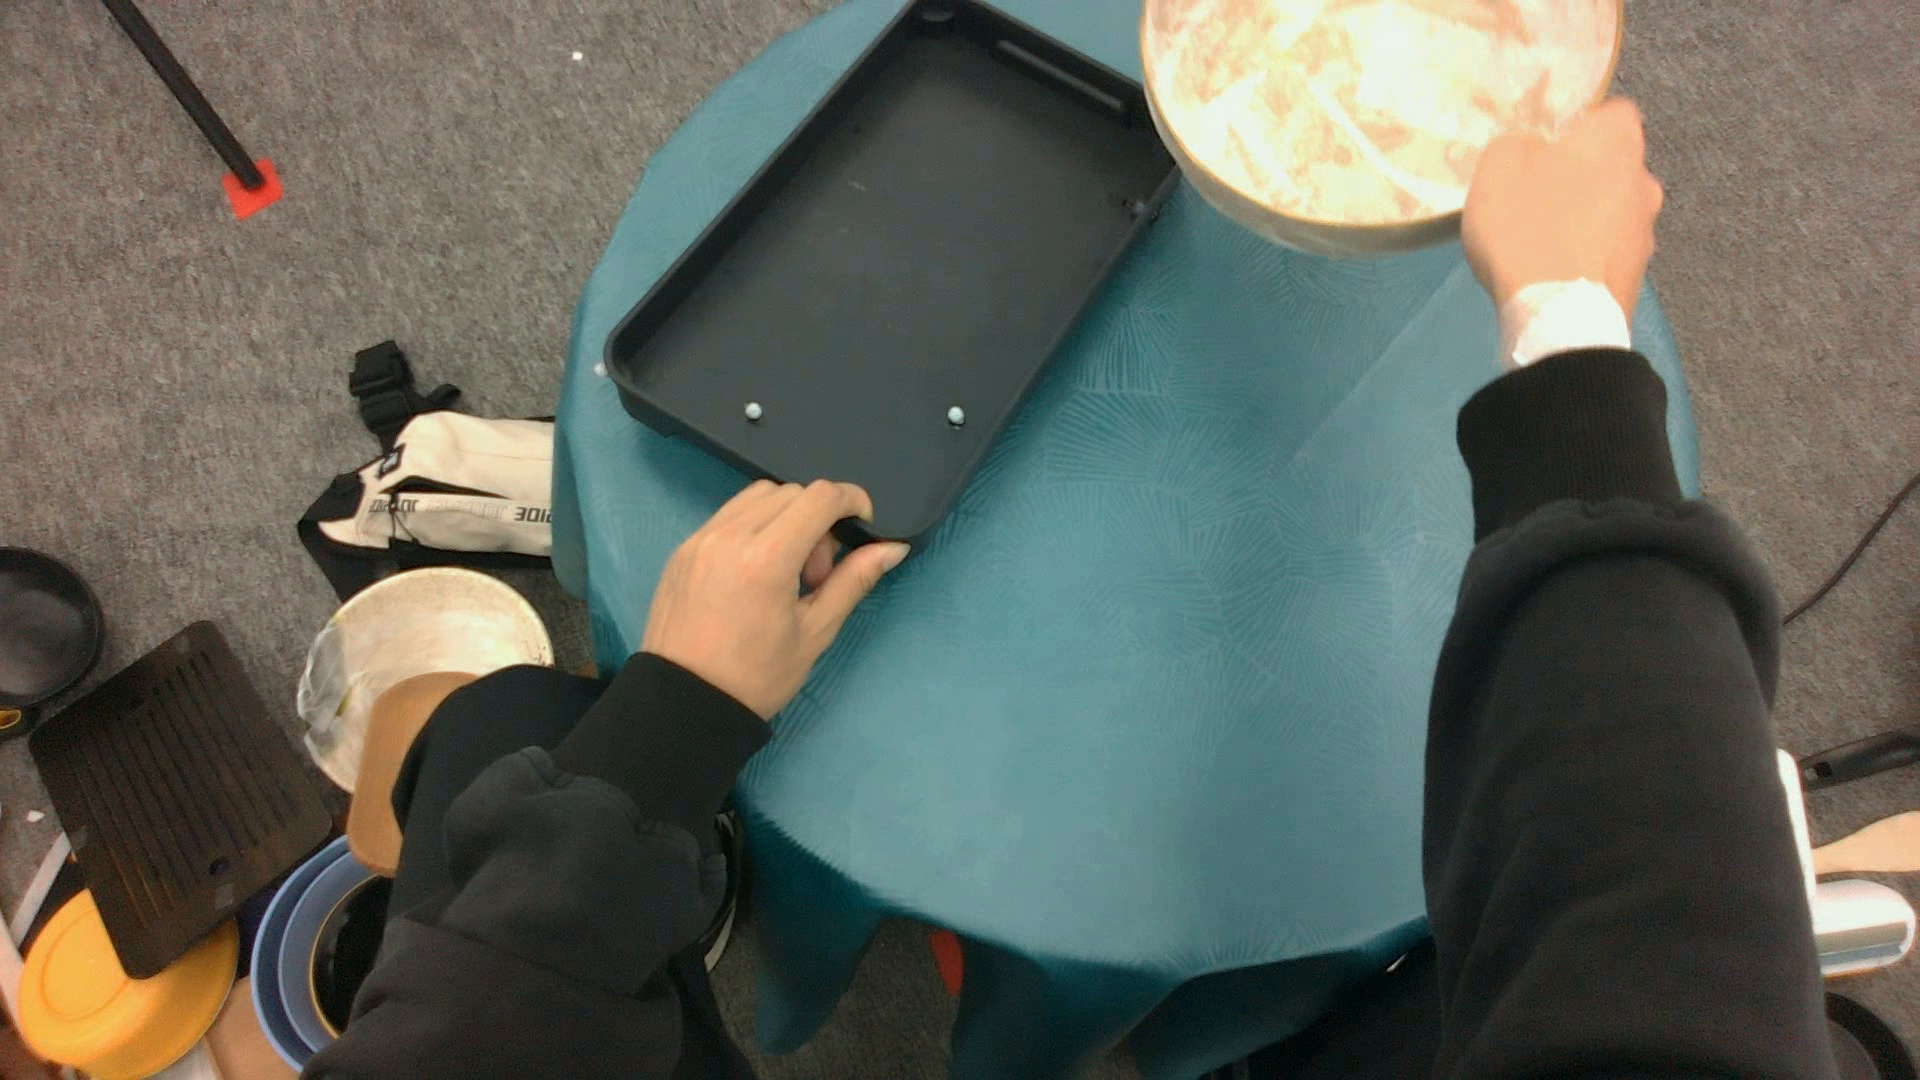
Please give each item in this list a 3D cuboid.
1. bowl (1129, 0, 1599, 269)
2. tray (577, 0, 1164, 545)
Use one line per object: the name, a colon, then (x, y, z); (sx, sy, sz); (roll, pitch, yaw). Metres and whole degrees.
bowl: (0.179, -0.208, 0.652); (0.214, 0.094, 0.215); (-2, 73, 5)
tray: (-0.033, -0.157, 0.722); (0.184, 0.037, 0.319); (31, 63, 9)
